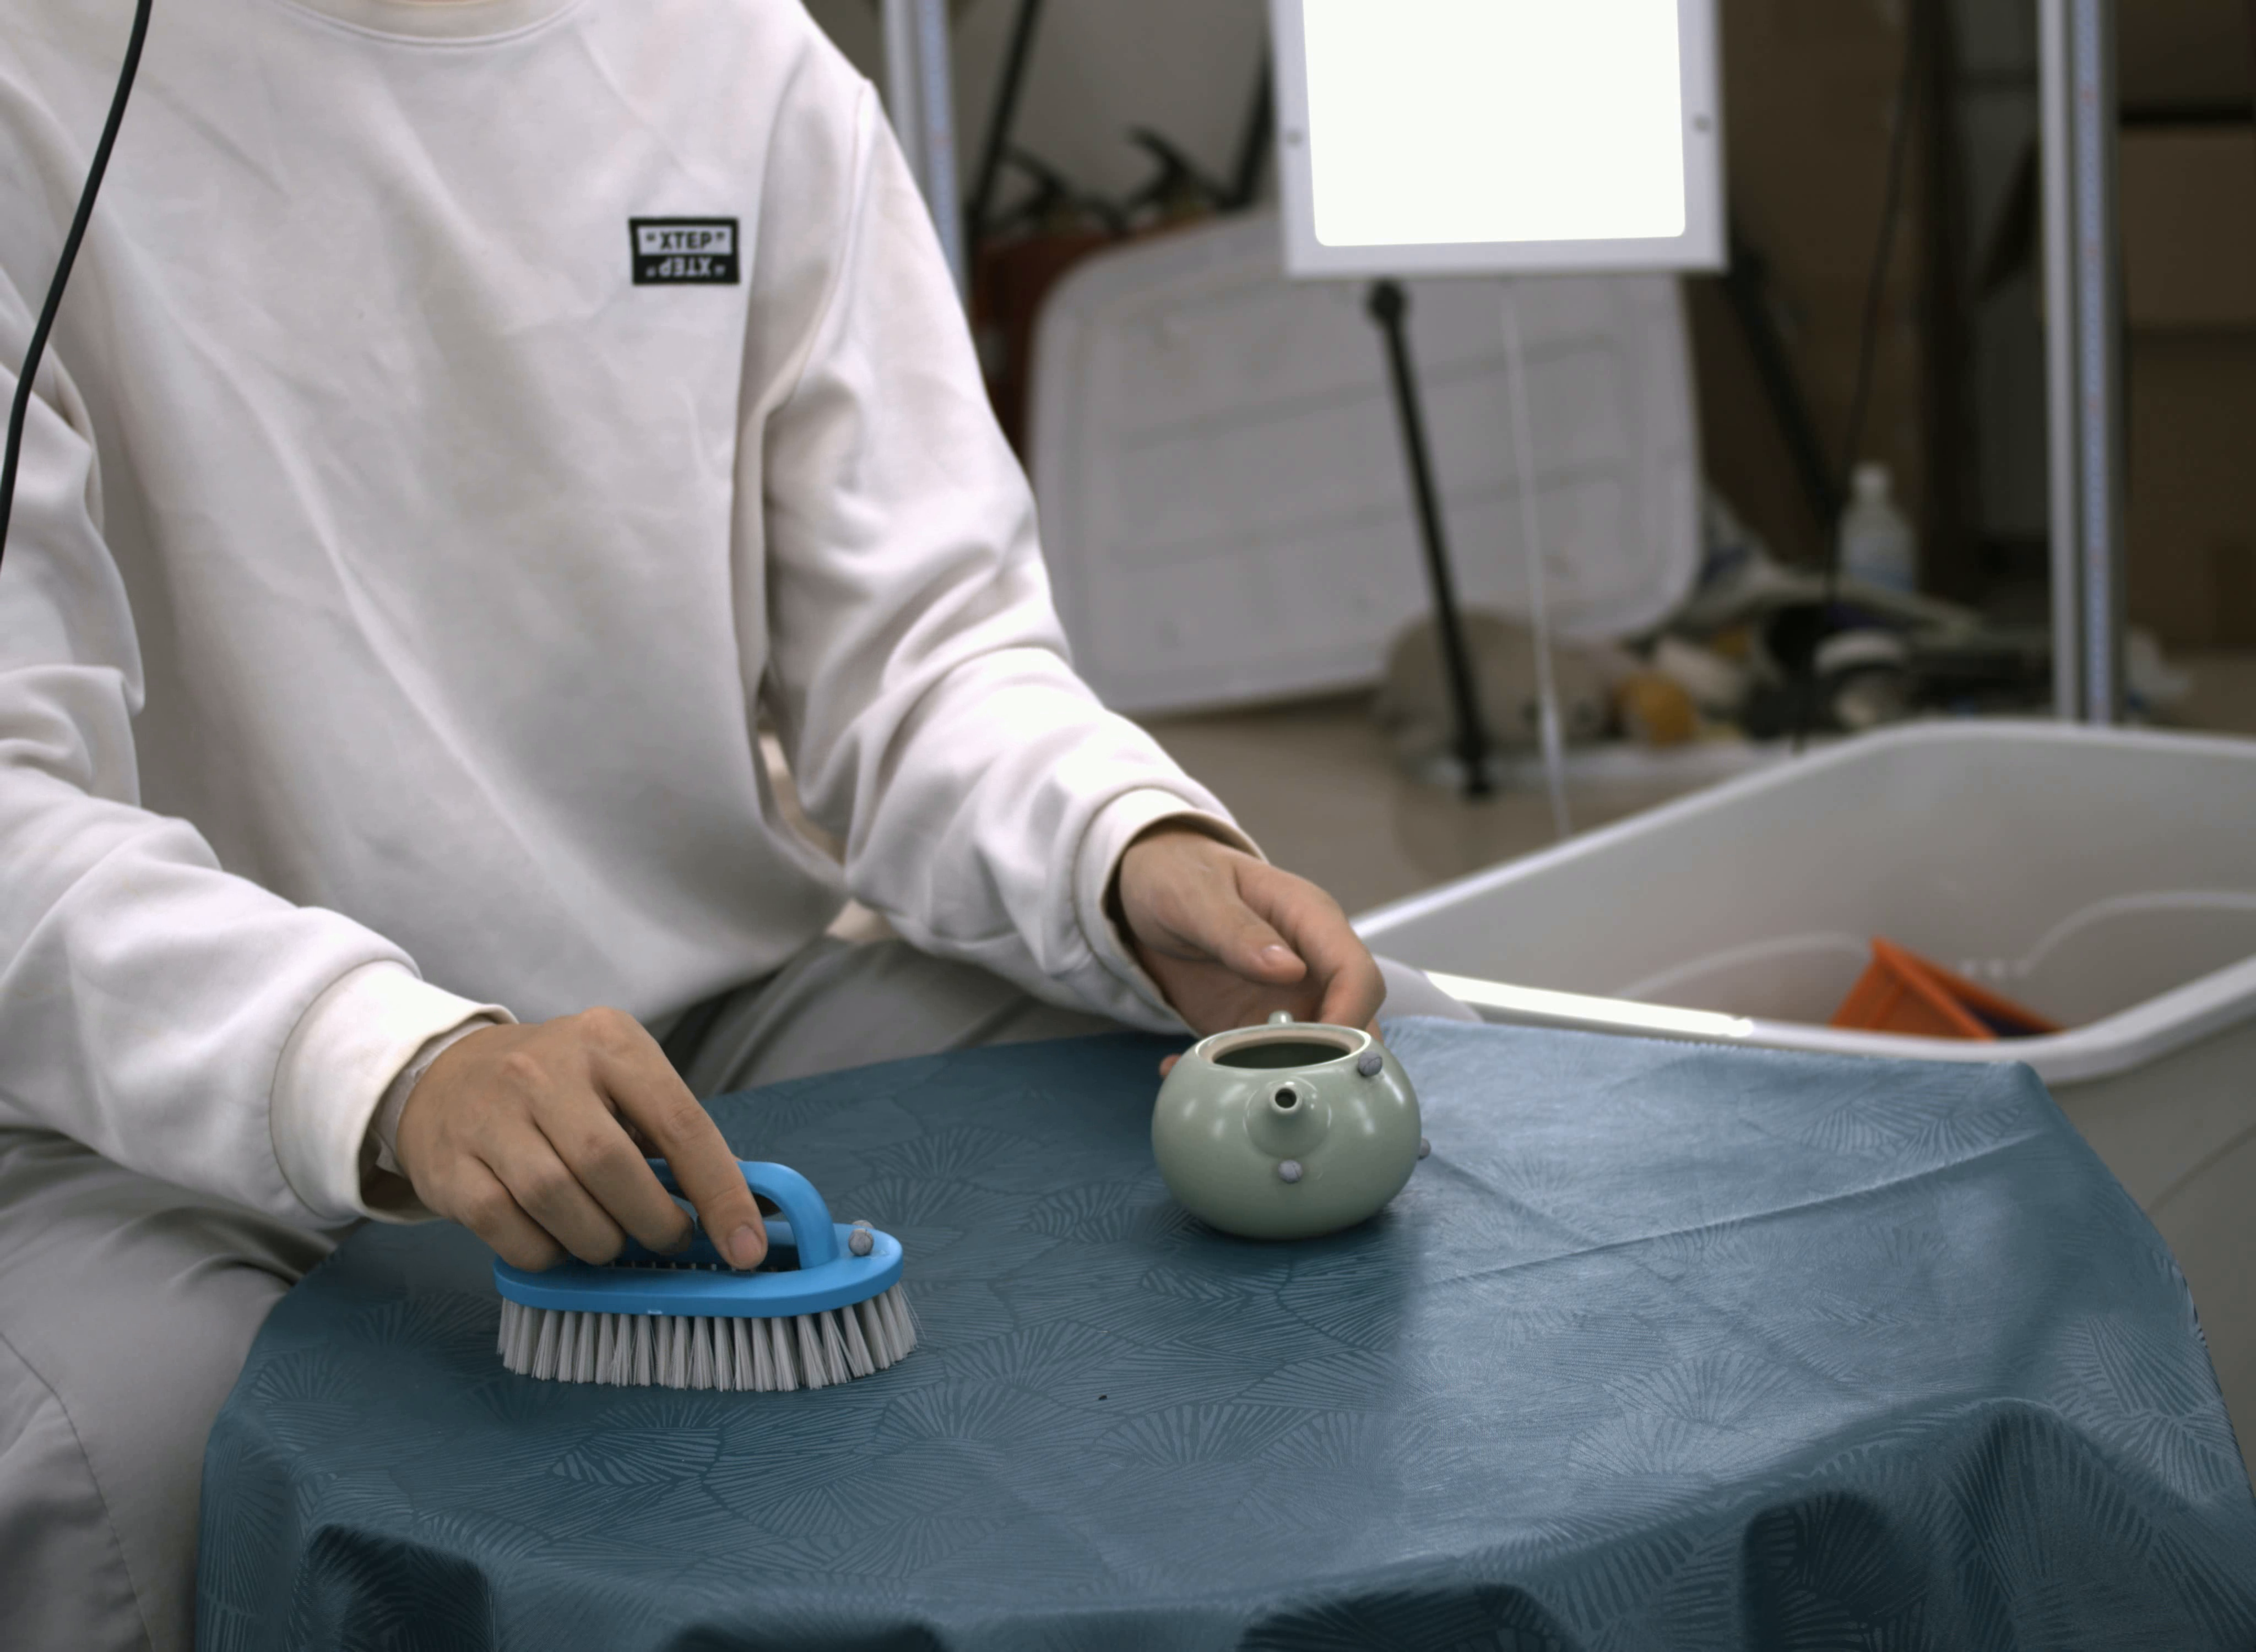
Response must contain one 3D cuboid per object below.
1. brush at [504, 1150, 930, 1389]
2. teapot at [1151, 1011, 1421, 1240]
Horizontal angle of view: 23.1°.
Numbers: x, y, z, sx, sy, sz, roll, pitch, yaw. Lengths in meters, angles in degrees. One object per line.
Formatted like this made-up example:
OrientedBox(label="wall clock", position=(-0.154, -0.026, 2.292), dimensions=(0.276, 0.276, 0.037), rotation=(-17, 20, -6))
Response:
OrientedBox(label="brush", position=(-0.136, 0.136, 1.774), dimensions=(0.144, 0.064, 0.083), rotation=(-2, 20, 23))
OrientedBox(label="teapot", position=(0.055, 0.101, 1.862), dimensions=(0.092, 0.061, 0.127), rotation=(-6, 12, 8))
